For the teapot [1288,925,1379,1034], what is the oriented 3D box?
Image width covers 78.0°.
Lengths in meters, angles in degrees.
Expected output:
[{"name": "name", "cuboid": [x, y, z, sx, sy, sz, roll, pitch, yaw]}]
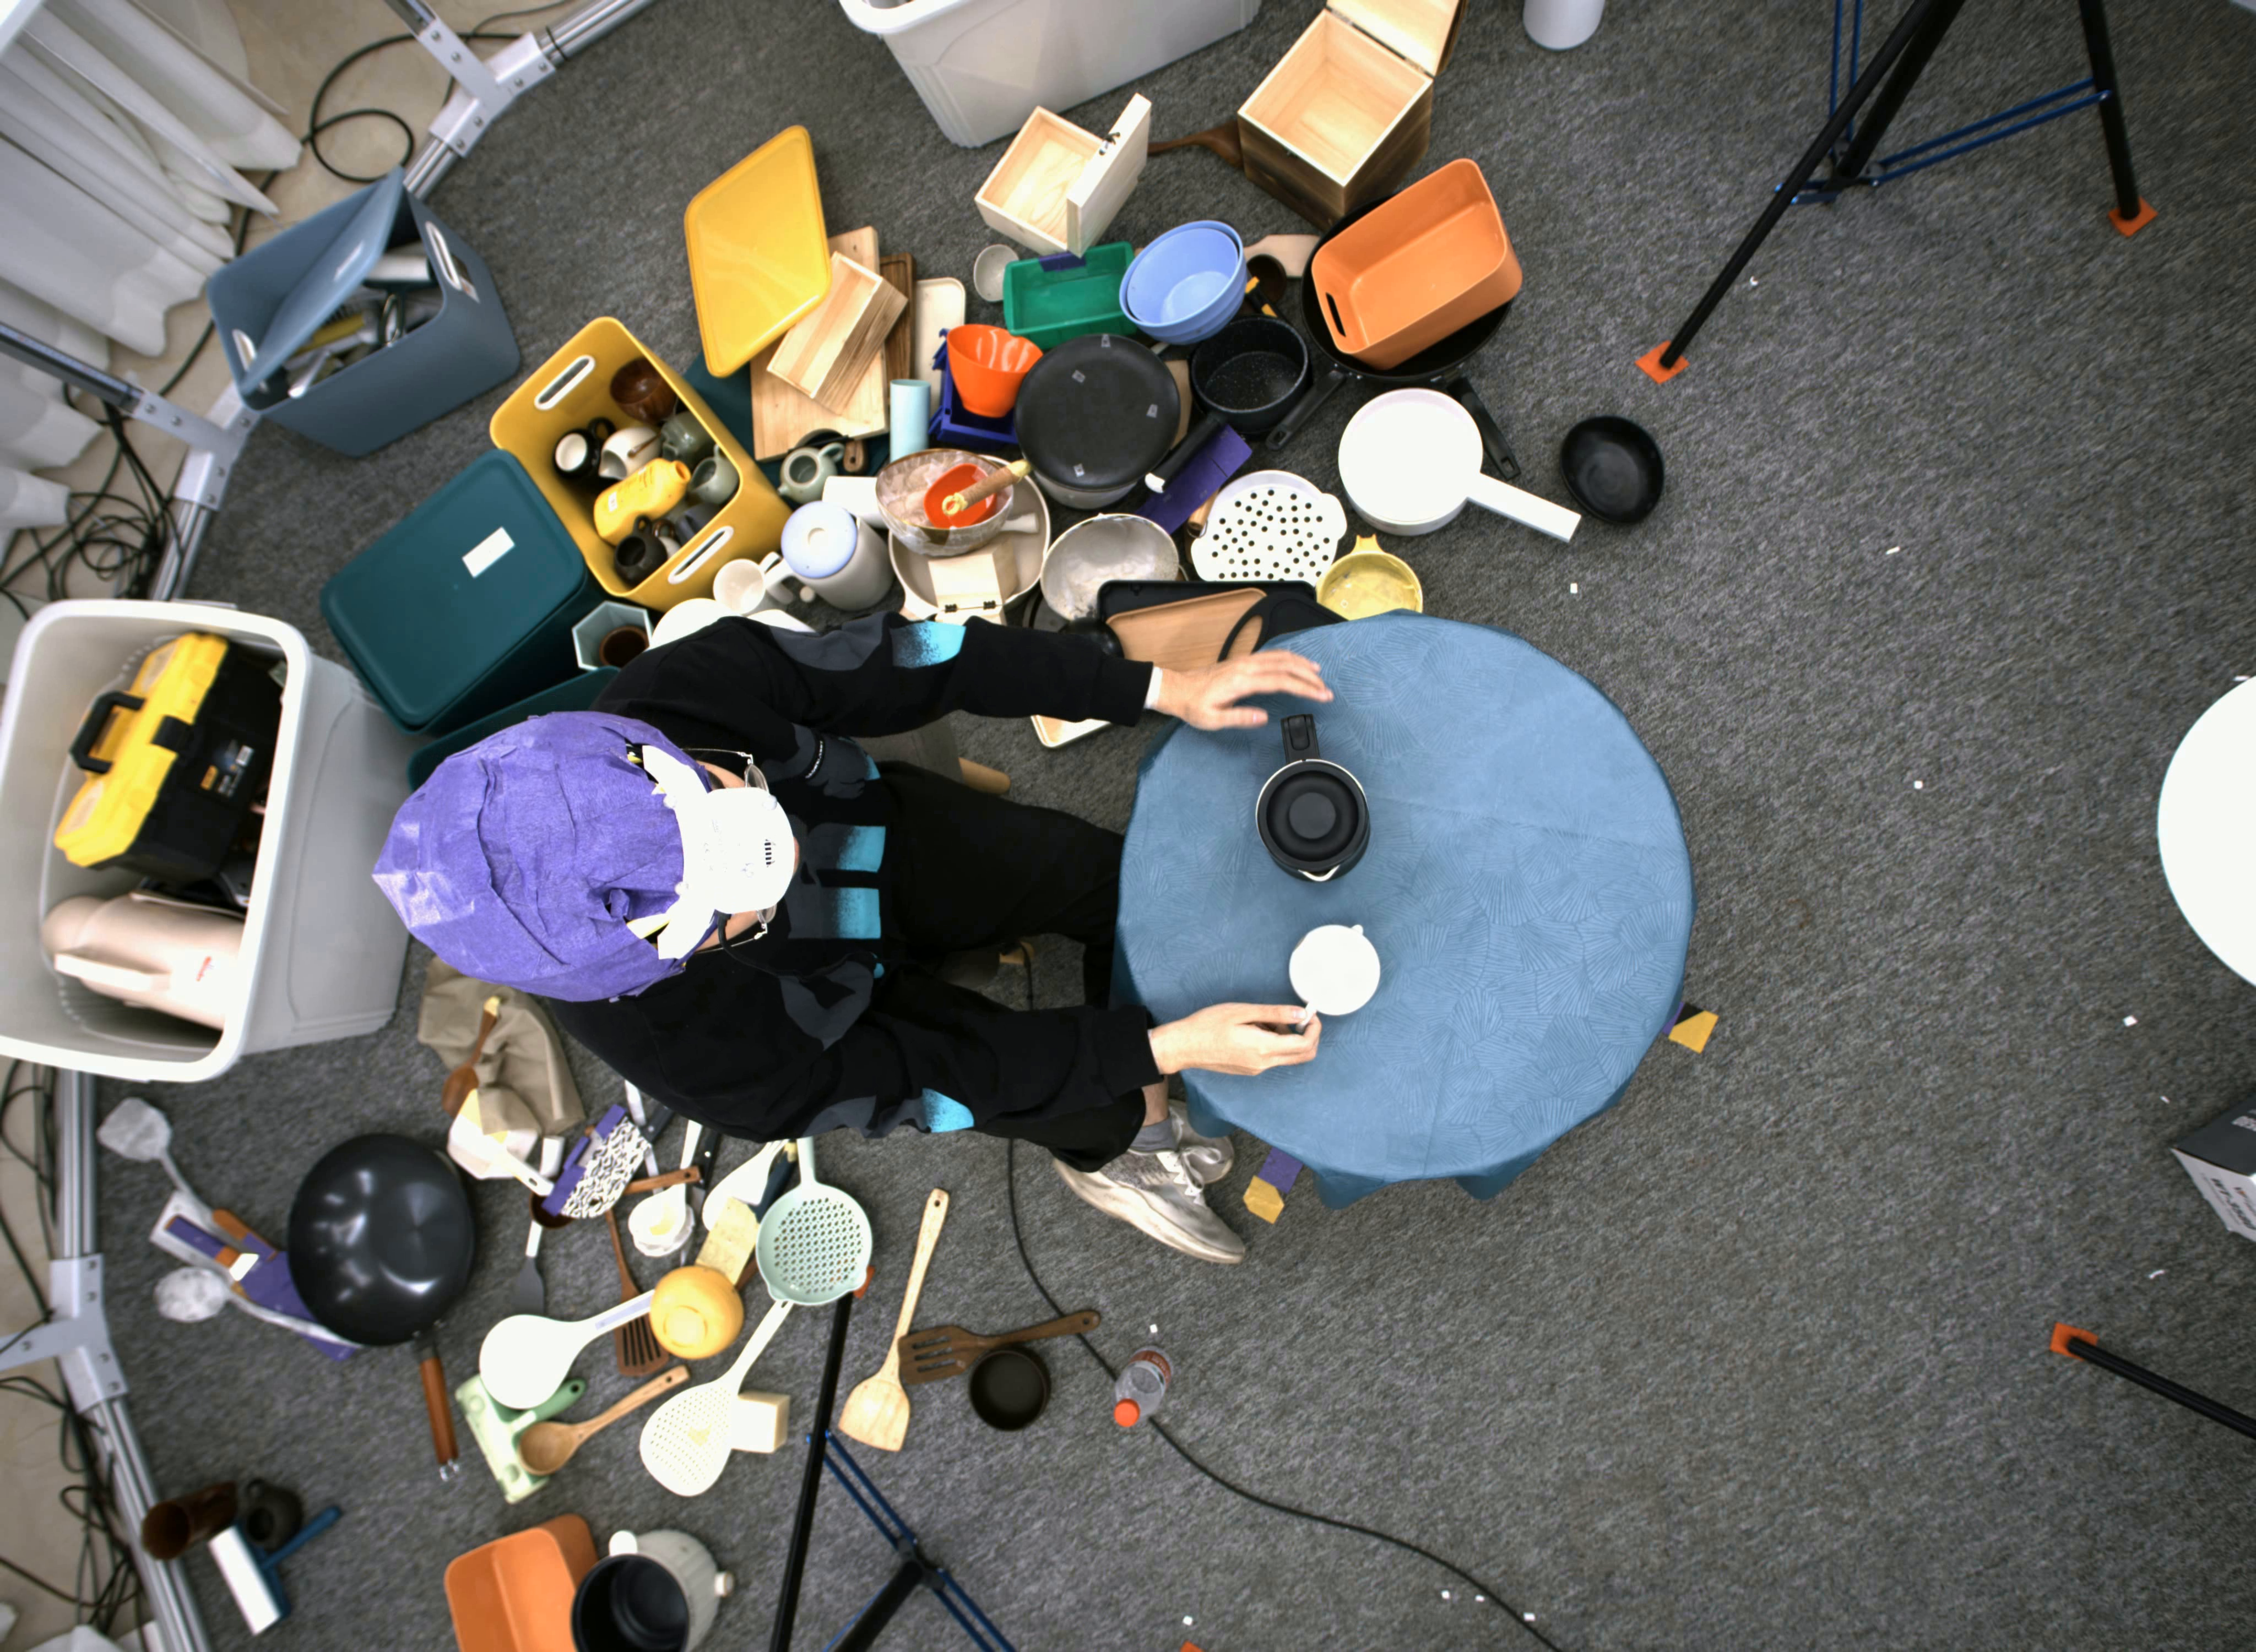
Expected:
[{"name": "teapot", "cuboid": [0.208, 0.158, 1.435, 0.093, 0.056, 0.127, 24, 92, 7]}]

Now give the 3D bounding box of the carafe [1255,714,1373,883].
[{"name": "carafe", "cuboid": [0.183, -0.027, 1.390, 0.115, 0.173, 0.171, -10, 87, 10]}]
